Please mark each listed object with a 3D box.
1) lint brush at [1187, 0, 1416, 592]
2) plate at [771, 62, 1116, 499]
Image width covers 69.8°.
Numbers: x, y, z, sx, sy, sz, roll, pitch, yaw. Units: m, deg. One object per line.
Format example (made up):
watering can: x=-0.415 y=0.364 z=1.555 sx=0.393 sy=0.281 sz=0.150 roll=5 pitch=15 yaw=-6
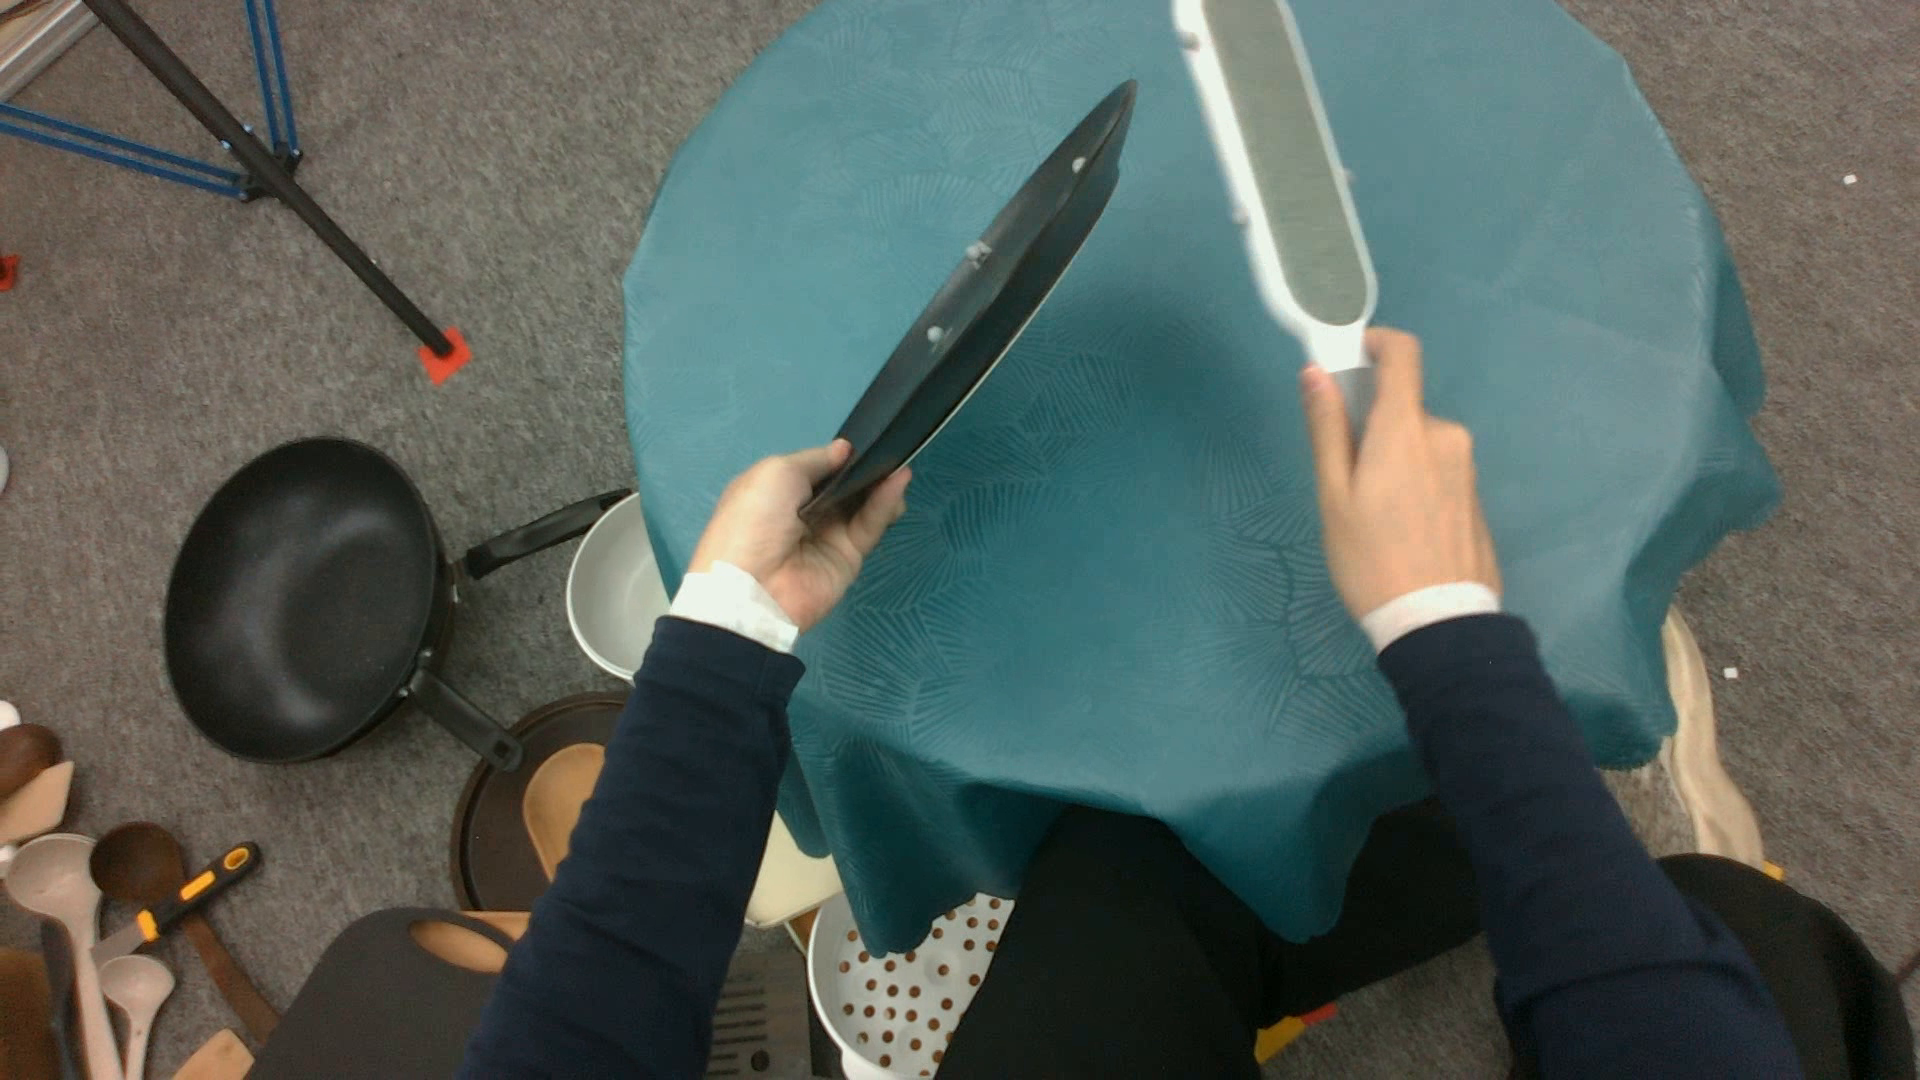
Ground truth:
lint brush: x=0.158 y=-0.126 z=0.630 sx=0.060 sy=0.021 sz=0.309 roll=-5 pitch=77 yaw=-31
plate: x=-0.004 y=-0.112 z=0.626 sx=0.023 sy=0.244 sz=0.245 roll=38 pitch=74 yaw=-12
